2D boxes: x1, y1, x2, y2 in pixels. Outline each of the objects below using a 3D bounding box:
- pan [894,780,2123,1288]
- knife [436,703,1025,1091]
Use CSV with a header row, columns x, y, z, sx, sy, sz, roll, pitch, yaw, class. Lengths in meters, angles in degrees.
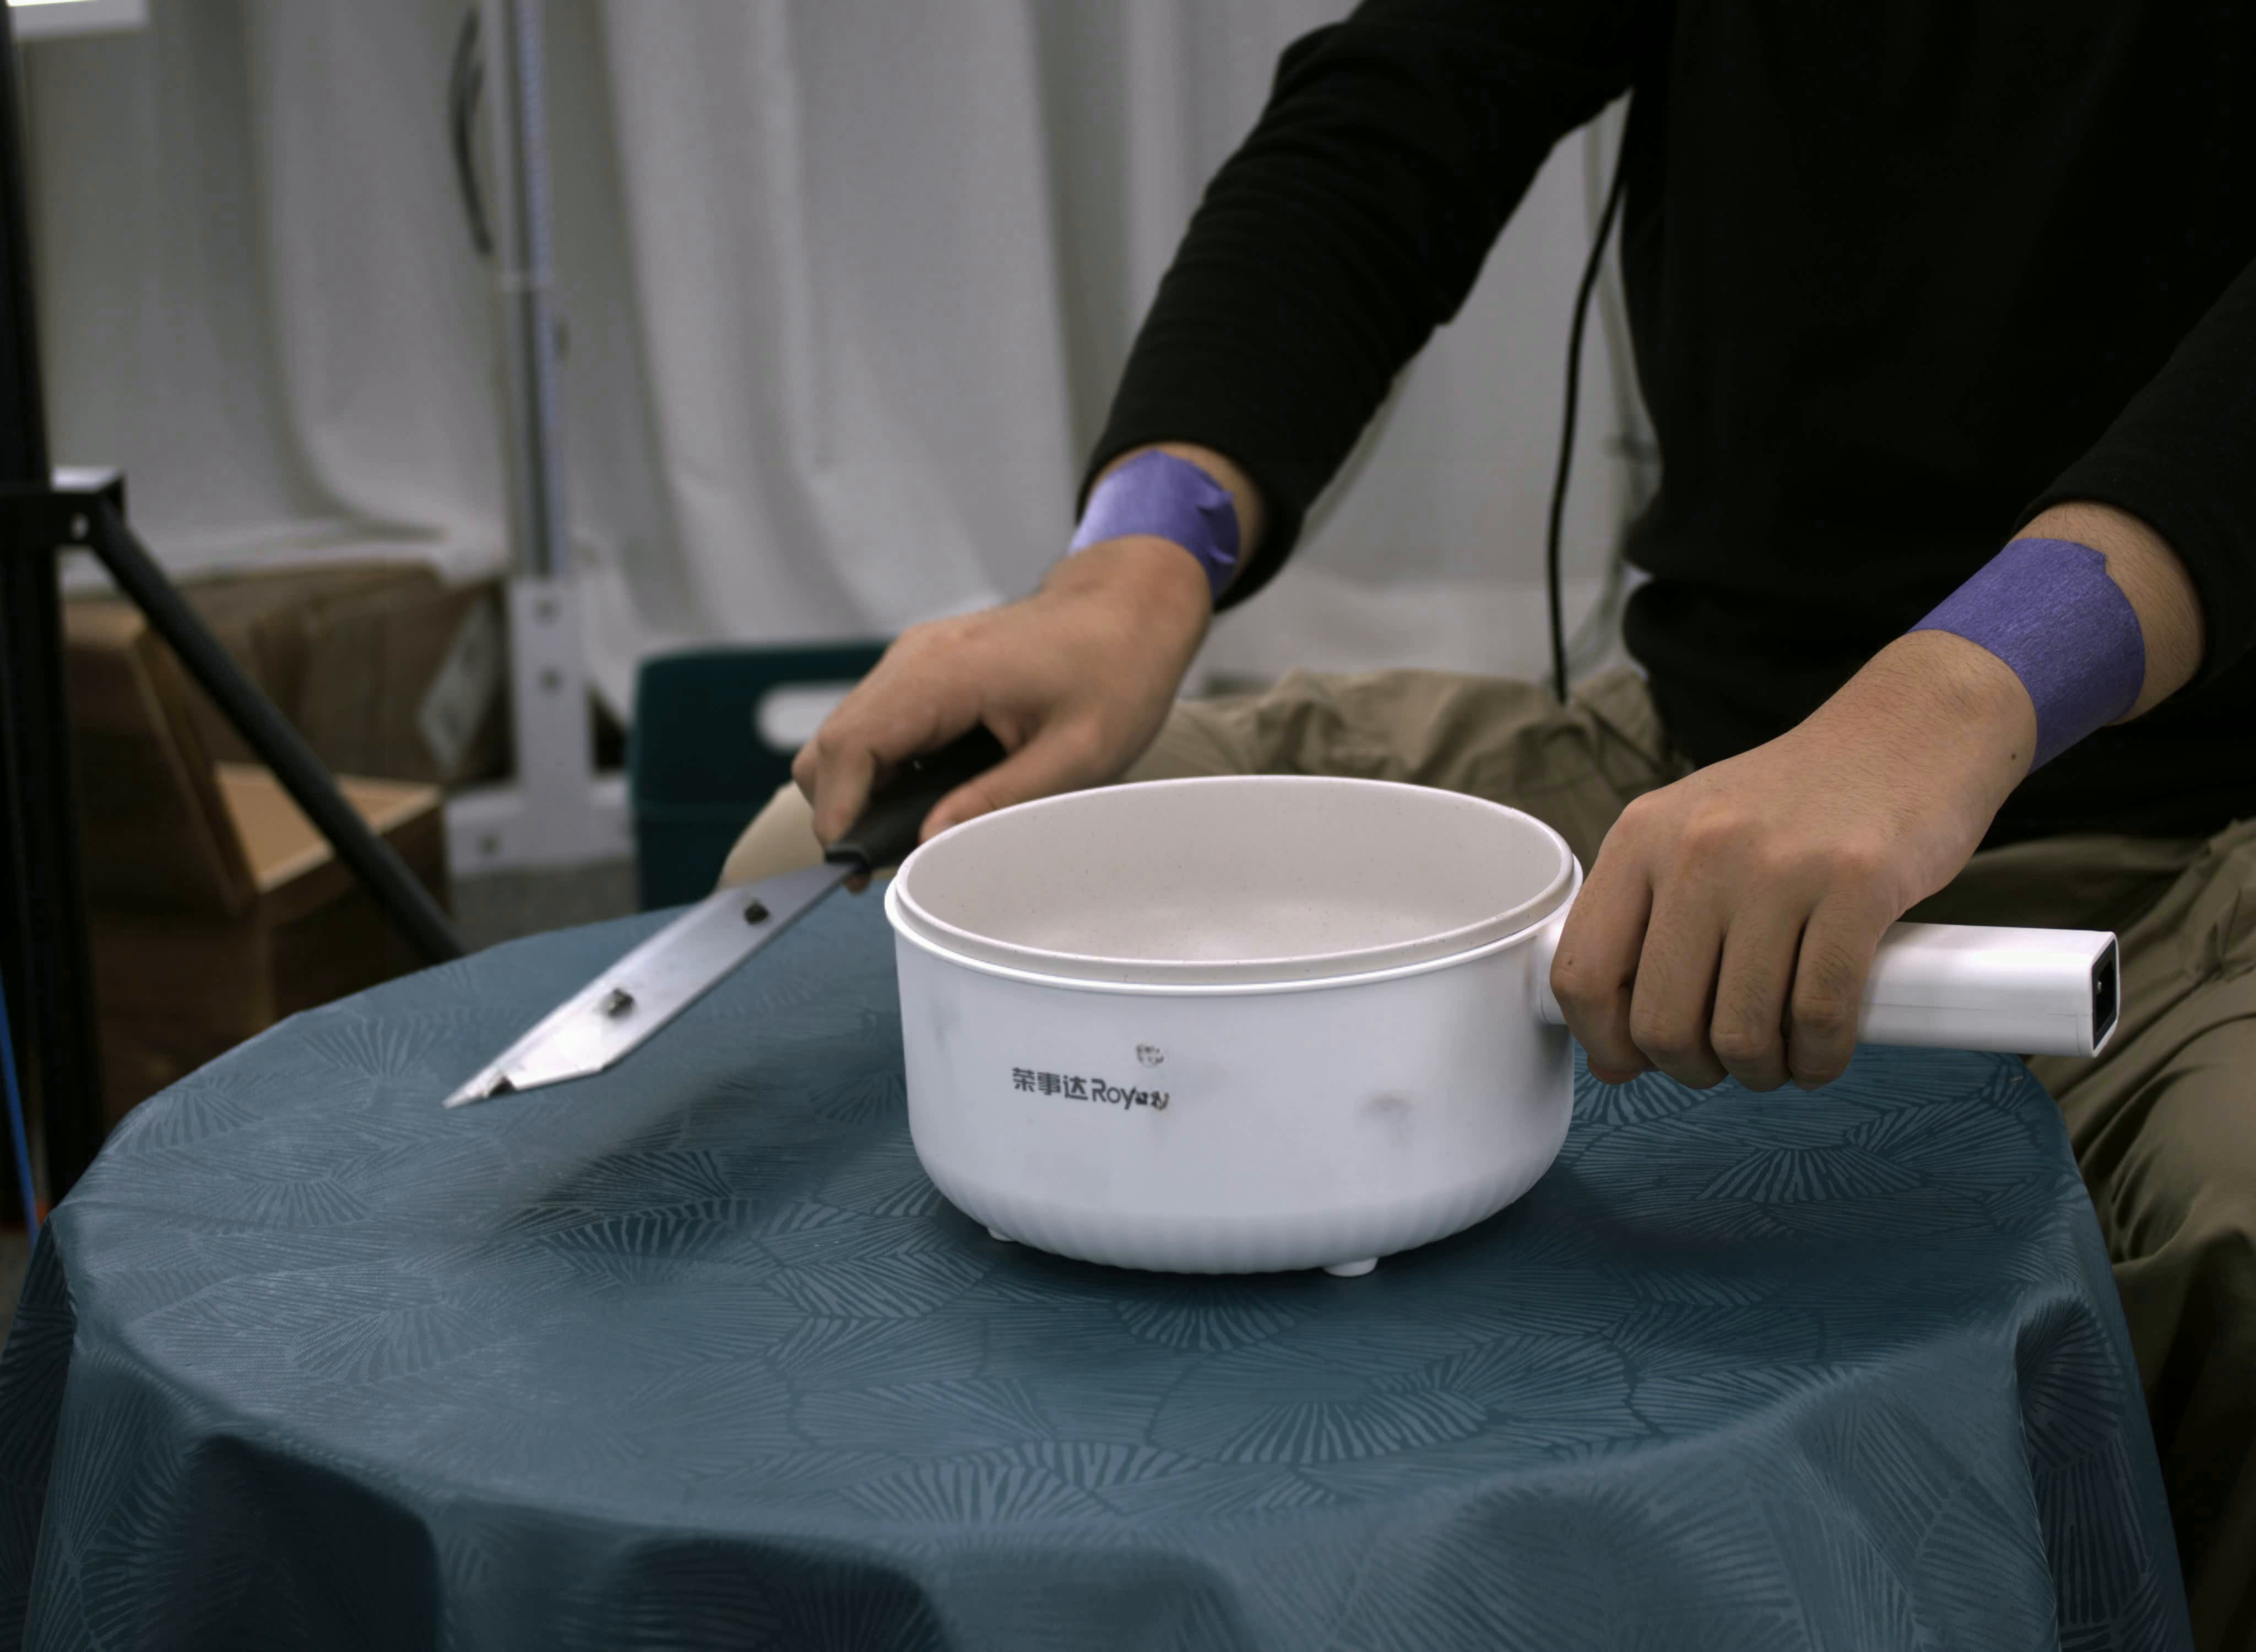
x,y,z,sx,sy,sz,roll,pitch,yaw,class
0.104,0.068,1.503,0.360,0.102,0.198,6,17,24,pan
-0.114,0.021,1.655,0.082,0.021,0.298,-13,14,34,knife
